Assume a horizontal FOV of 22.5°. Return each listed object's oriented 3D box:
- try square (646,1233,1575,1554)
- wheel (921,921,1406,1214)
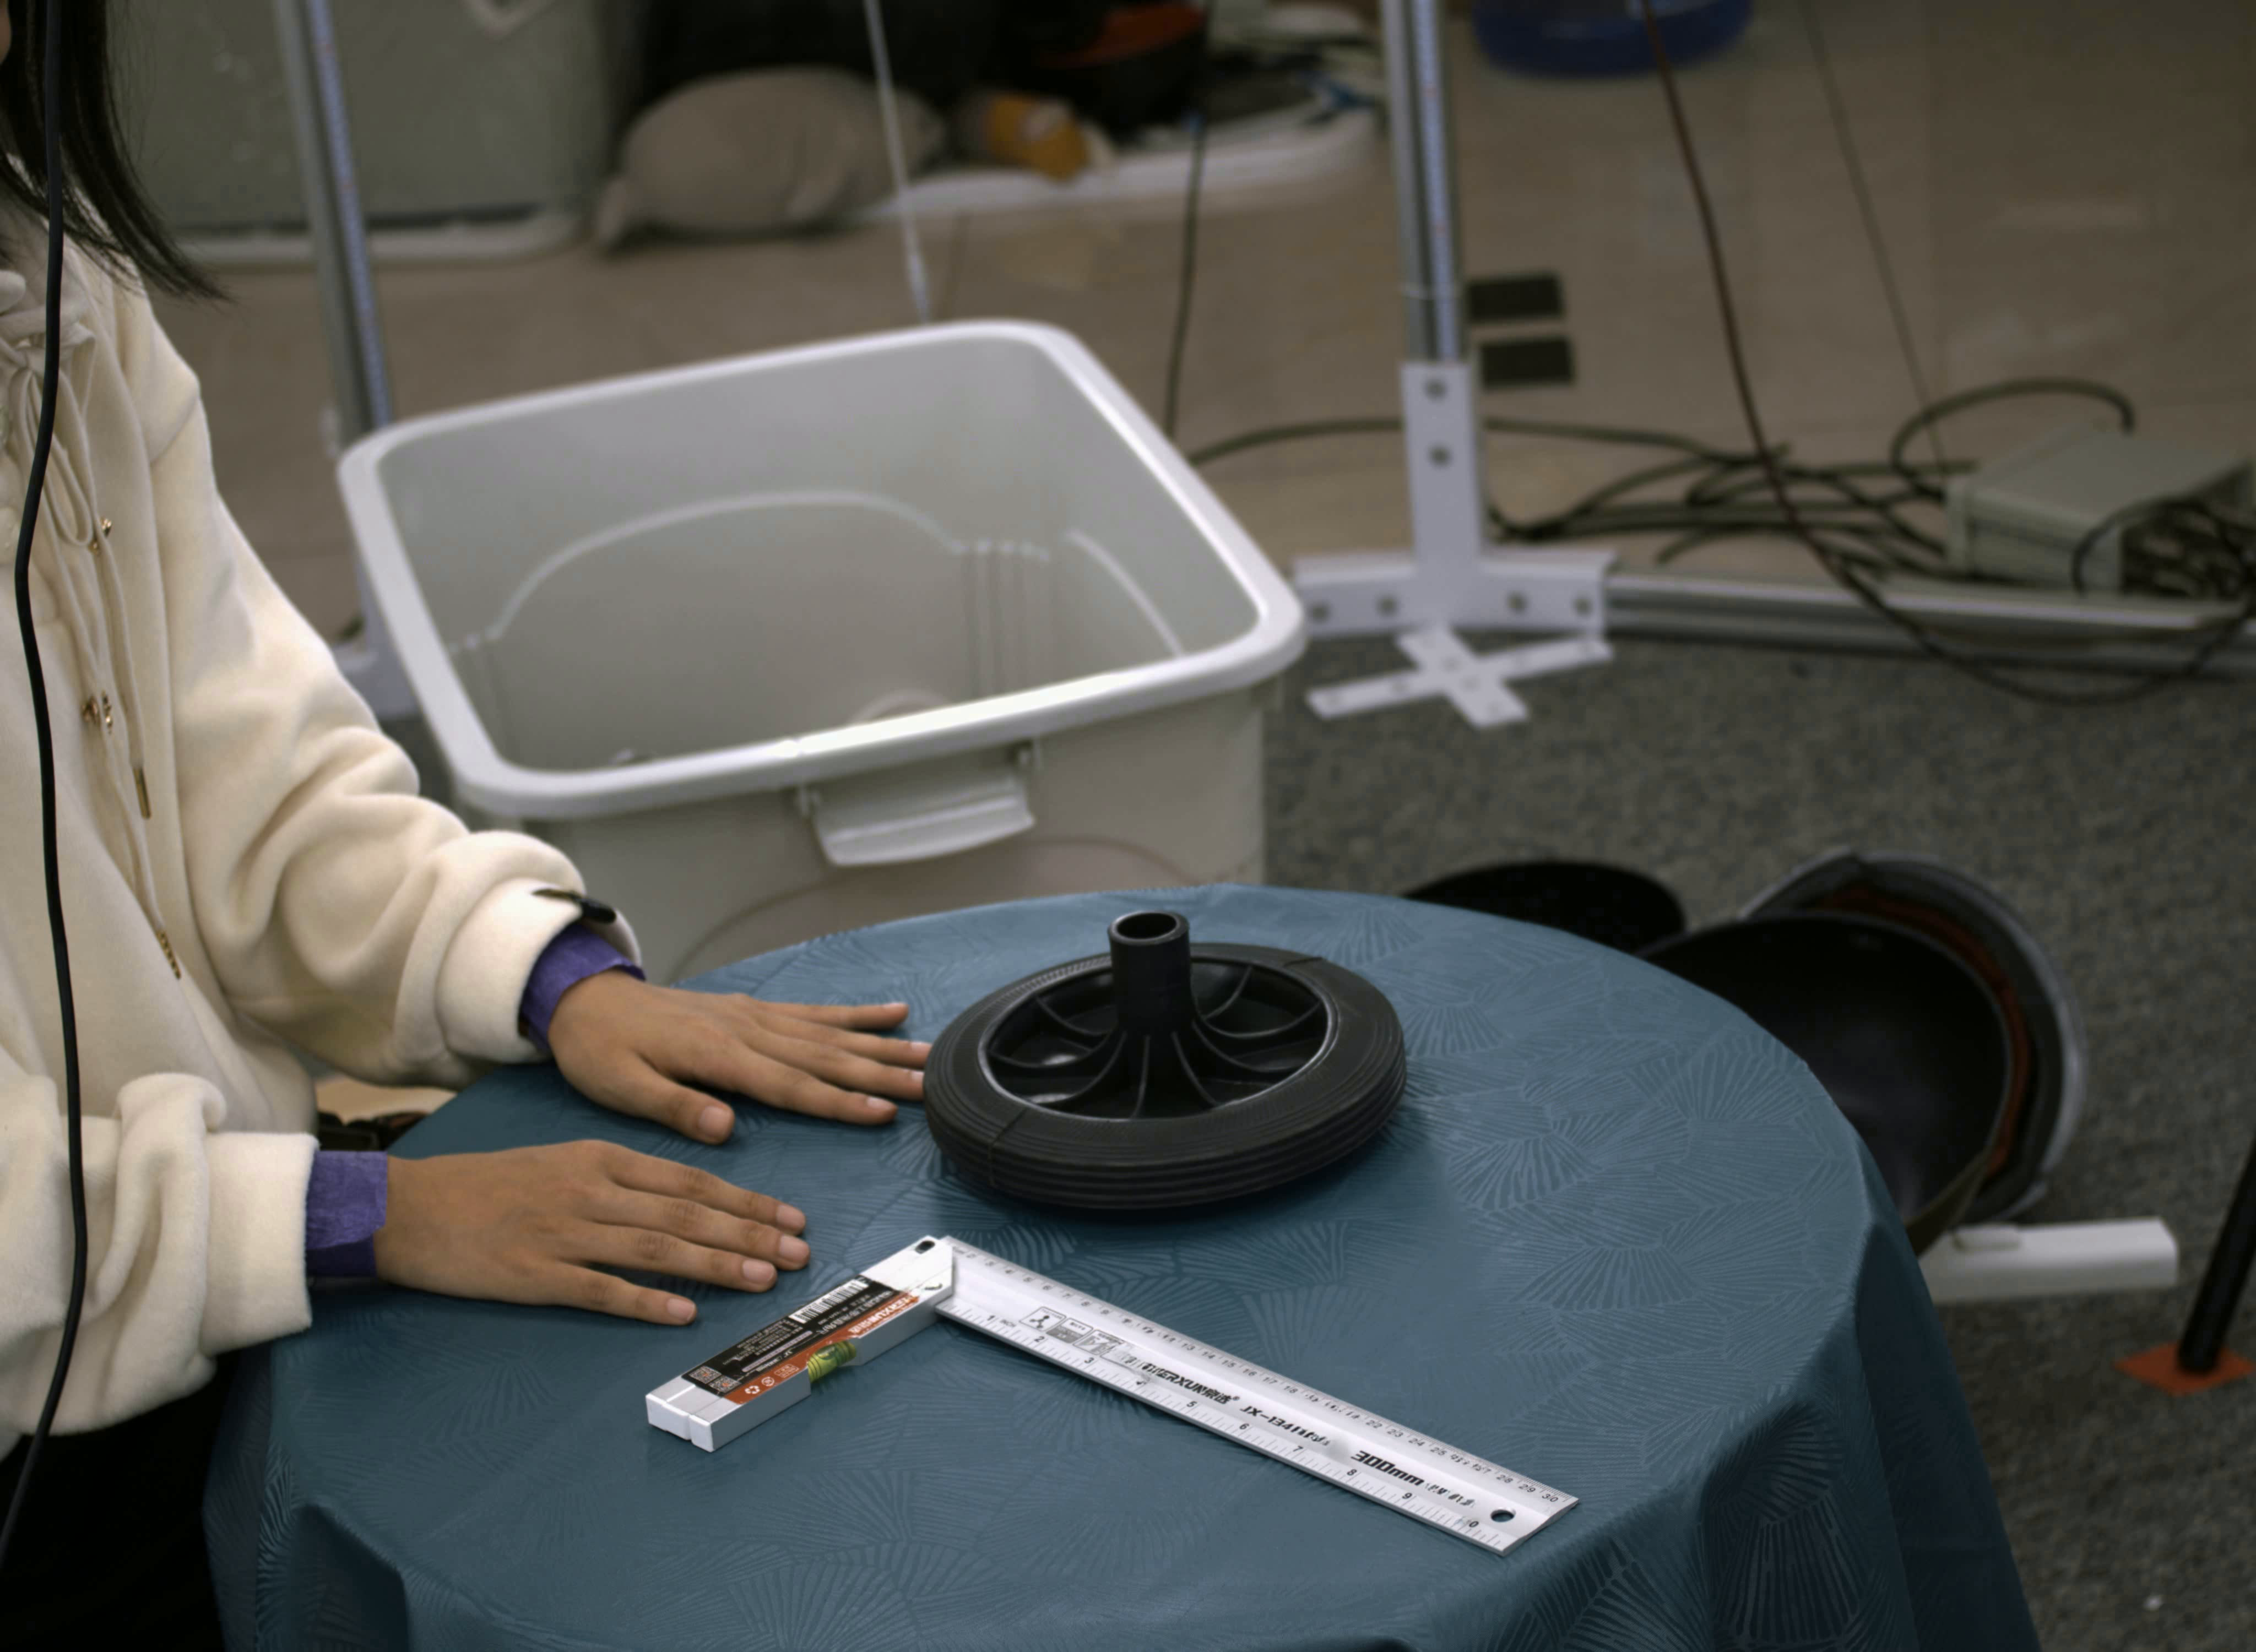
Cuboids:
[{"bbox_3d":[-0.011,0.219,1.975,0.310,0.016,0.151,19,38,41],"label":"try square"},{"bbox_3d":[0.012,0.078,2.184,0.187,0.080,0.187,-9,25,-6],"label":"wheel"}]
